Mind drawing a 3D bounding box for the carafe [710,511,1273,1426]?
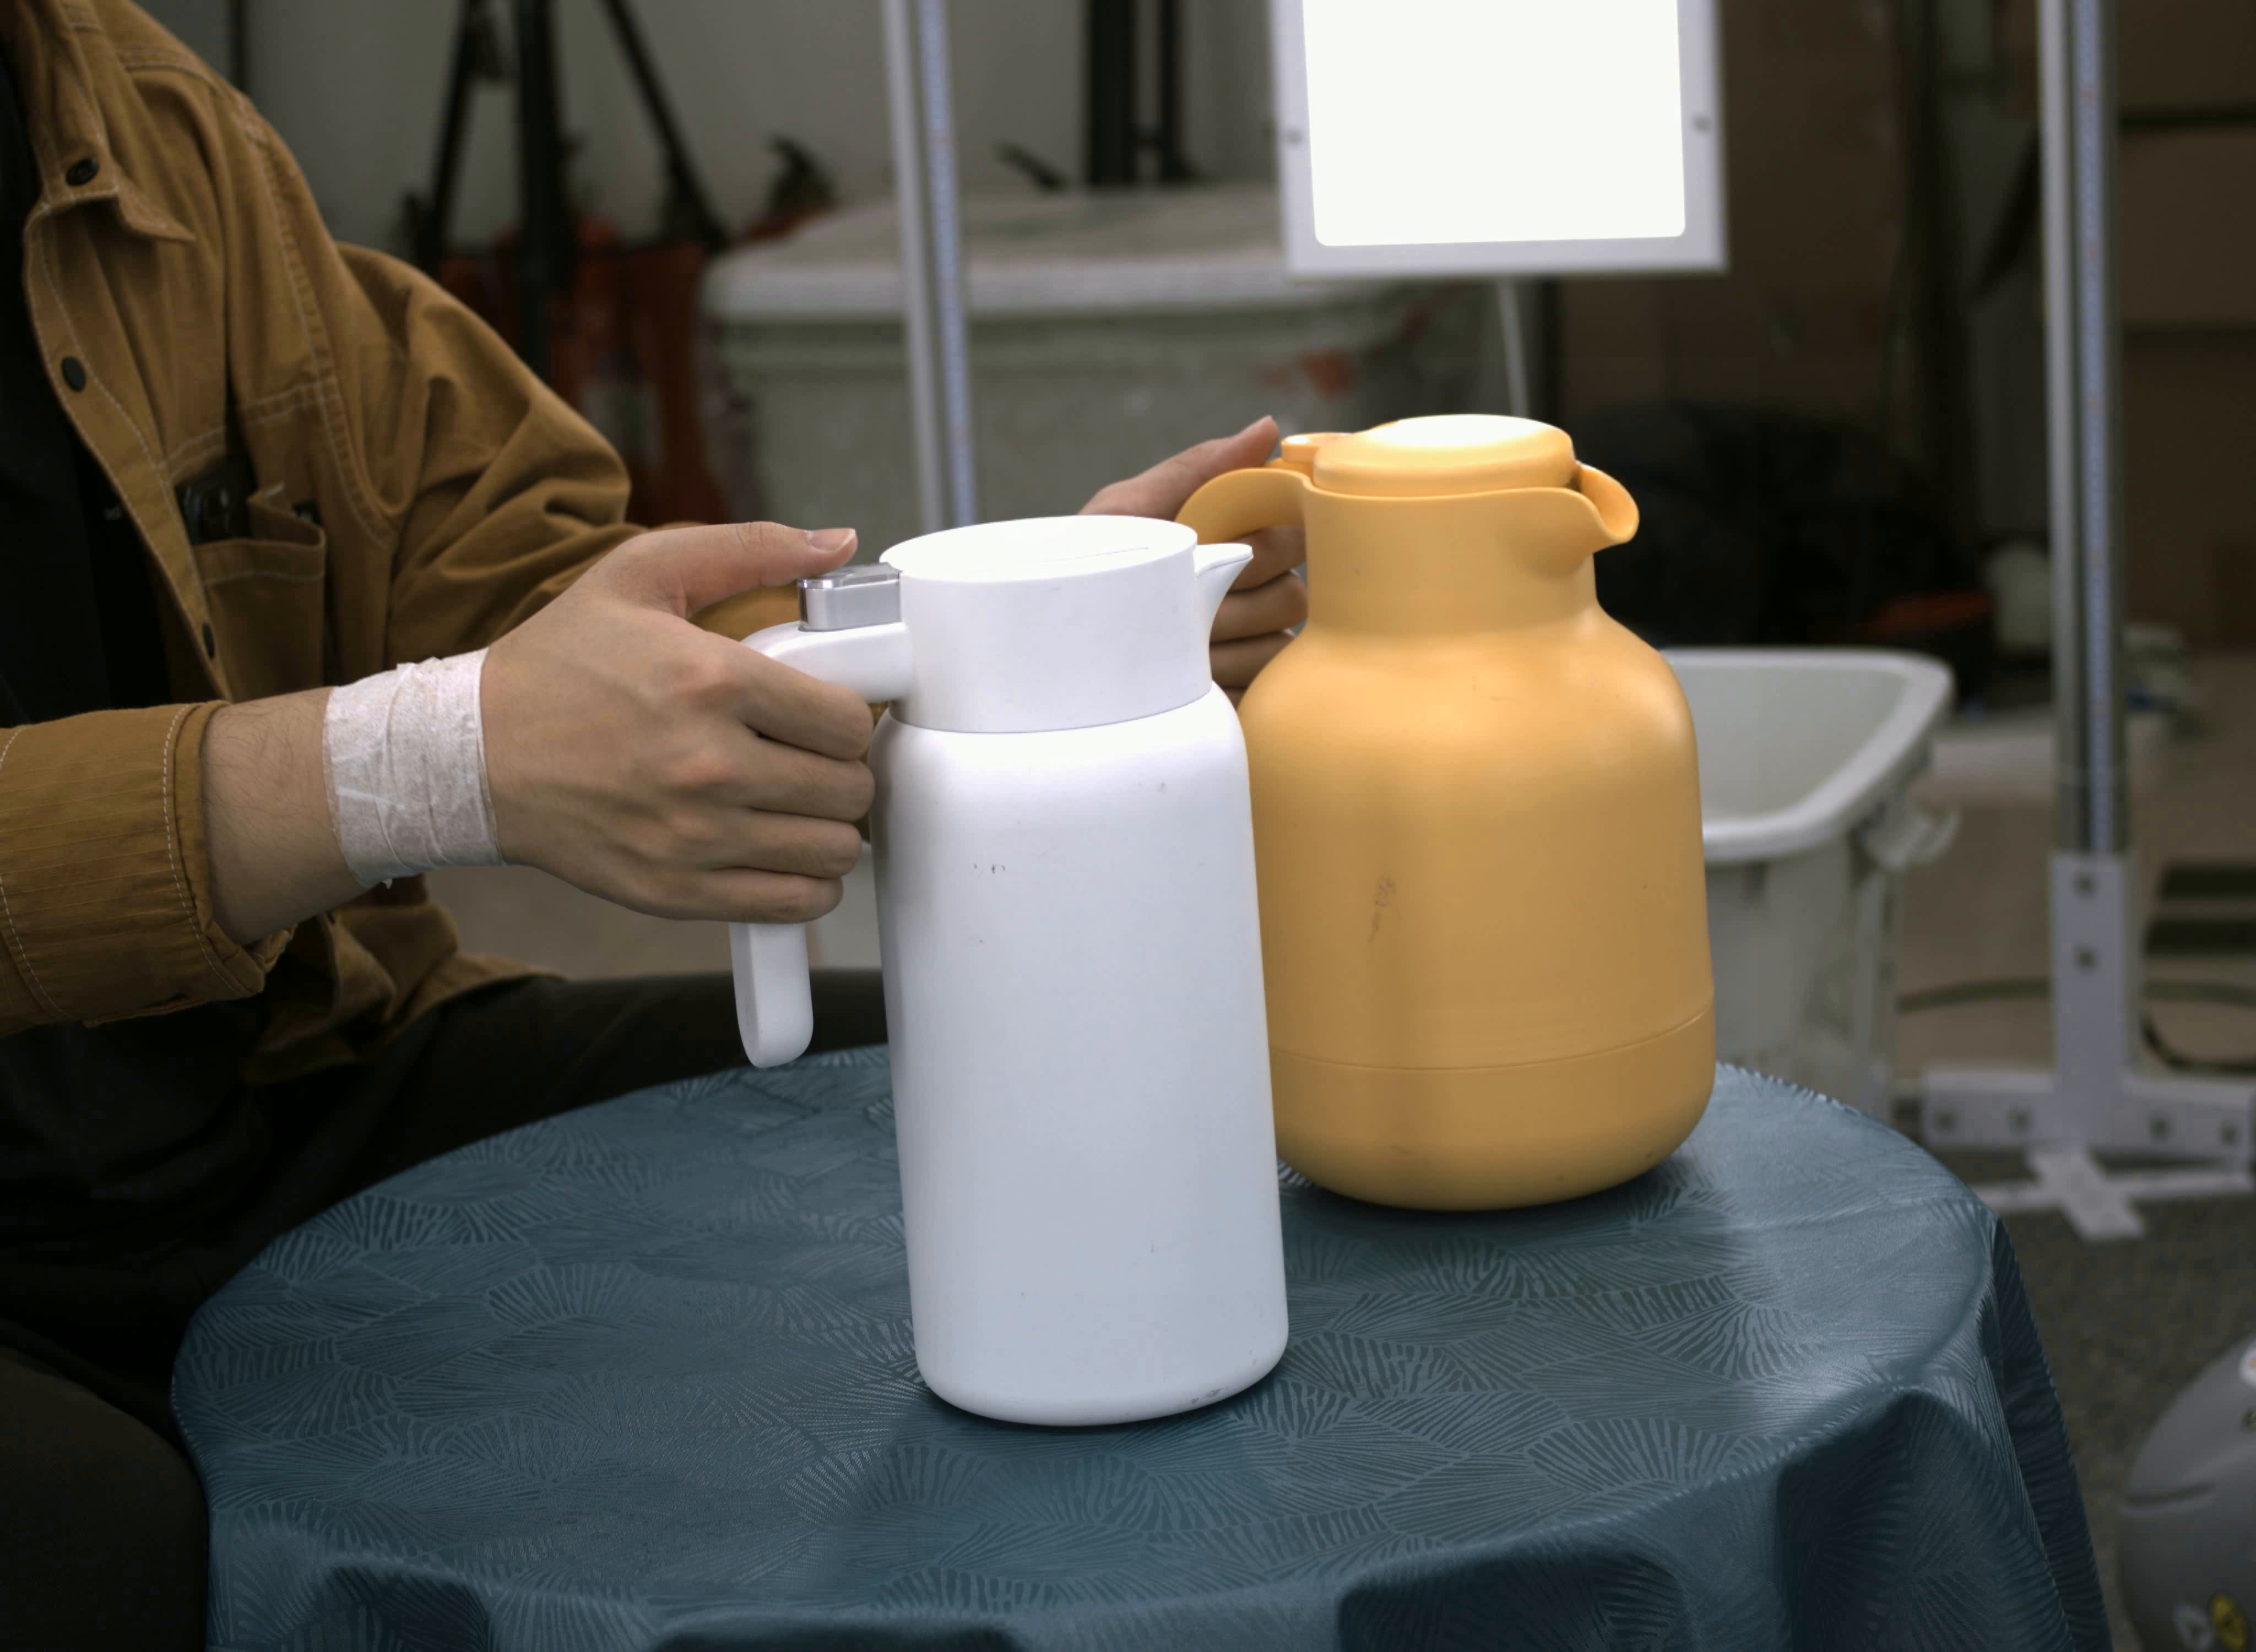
[{"bbox_3d":[-0.036,0.044,1.683,0.170,0.270,0.125,-8,16,-15],"label":"carafe"}]

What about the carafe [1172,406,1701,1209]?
[{"bbox_3d":[0.099,-0.013,1.876,0.207,0.261,0.159,11,18,43],"label":"carafe"}]
